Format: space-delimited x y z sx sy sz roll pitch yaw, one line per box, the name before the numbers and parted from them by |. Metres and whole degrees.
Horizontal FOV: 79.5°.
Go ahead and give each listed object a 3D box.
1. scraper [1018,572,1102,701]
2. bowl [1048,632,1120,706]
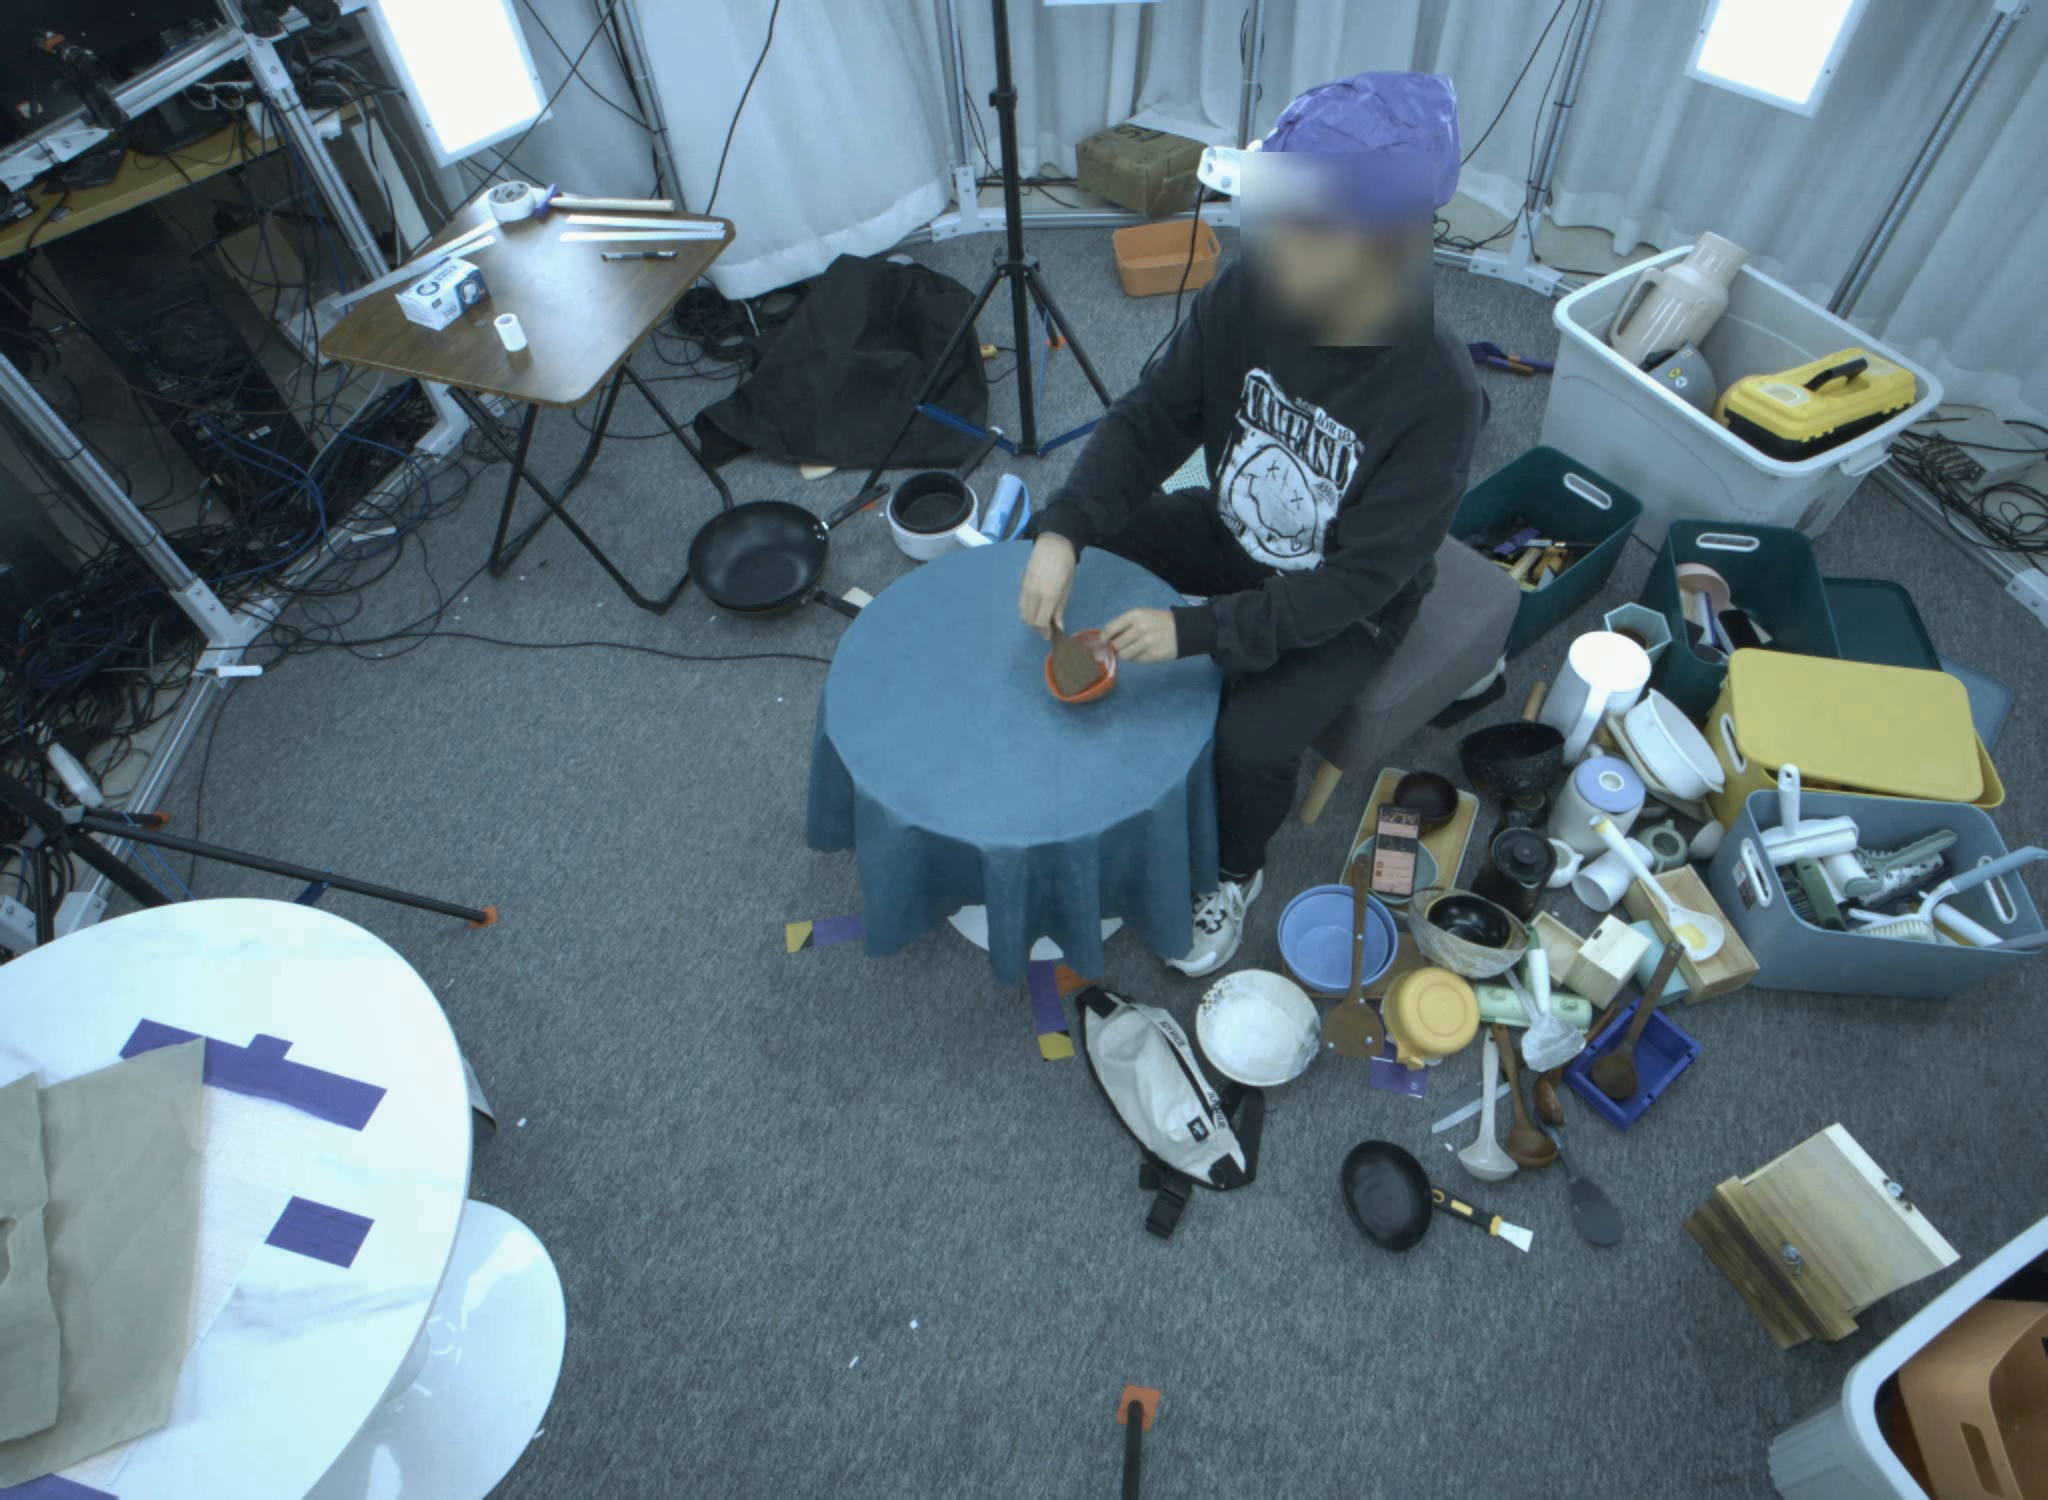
scraper | 0.045 -0.174 1.825 0.075 0.011 0.209 -35 74 27
bowl | 0.096 -0.112 1.828 0.117 0.052 0.118 -13 61 25
